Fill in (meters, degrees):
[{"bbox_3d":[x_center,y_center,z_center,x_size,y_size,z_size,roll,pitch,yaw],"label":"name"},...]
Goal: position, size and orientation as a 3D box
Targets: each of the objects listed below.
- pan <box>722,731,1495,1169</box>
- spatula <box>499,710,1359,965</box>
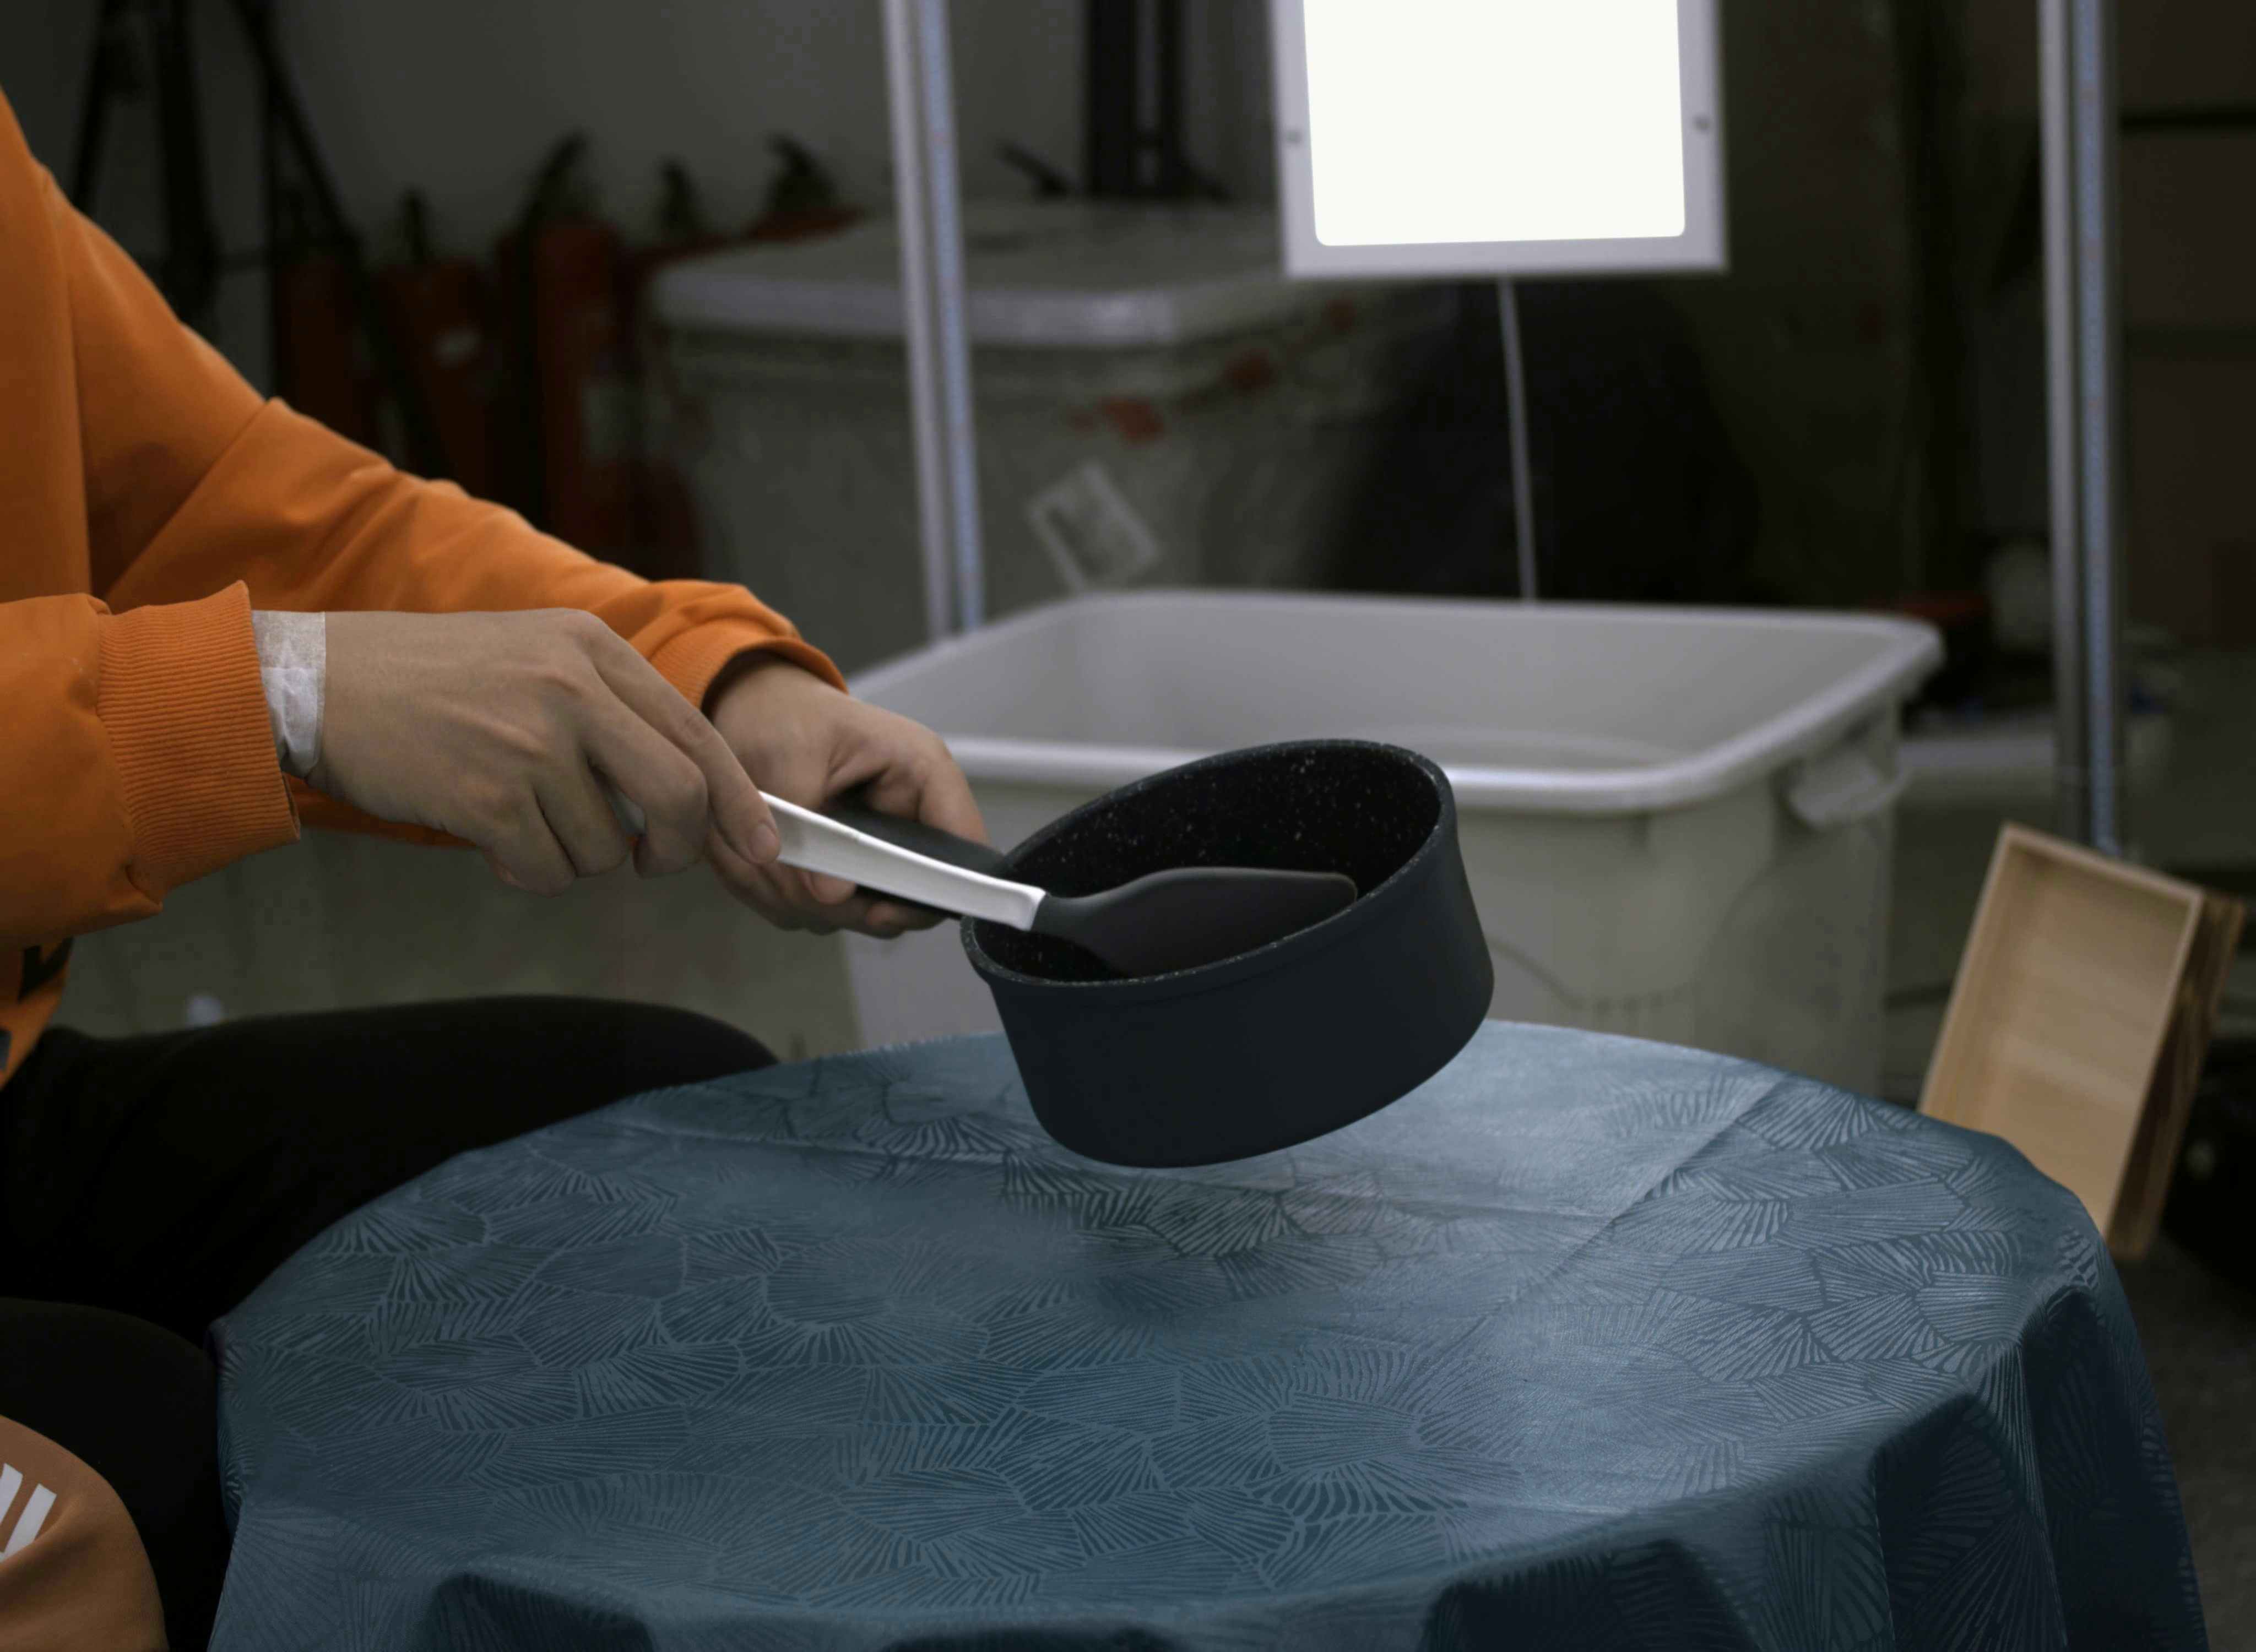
[{"bbox_3d":[-0.020,0.033,1.899,0.336,0.086,0.168,9,34,46],"label":"pan"},{"bbox_3d":[-0.062,0.010,1.799,0.285,0.059,0.032,13,35,-5],"label":"spatula"}]
